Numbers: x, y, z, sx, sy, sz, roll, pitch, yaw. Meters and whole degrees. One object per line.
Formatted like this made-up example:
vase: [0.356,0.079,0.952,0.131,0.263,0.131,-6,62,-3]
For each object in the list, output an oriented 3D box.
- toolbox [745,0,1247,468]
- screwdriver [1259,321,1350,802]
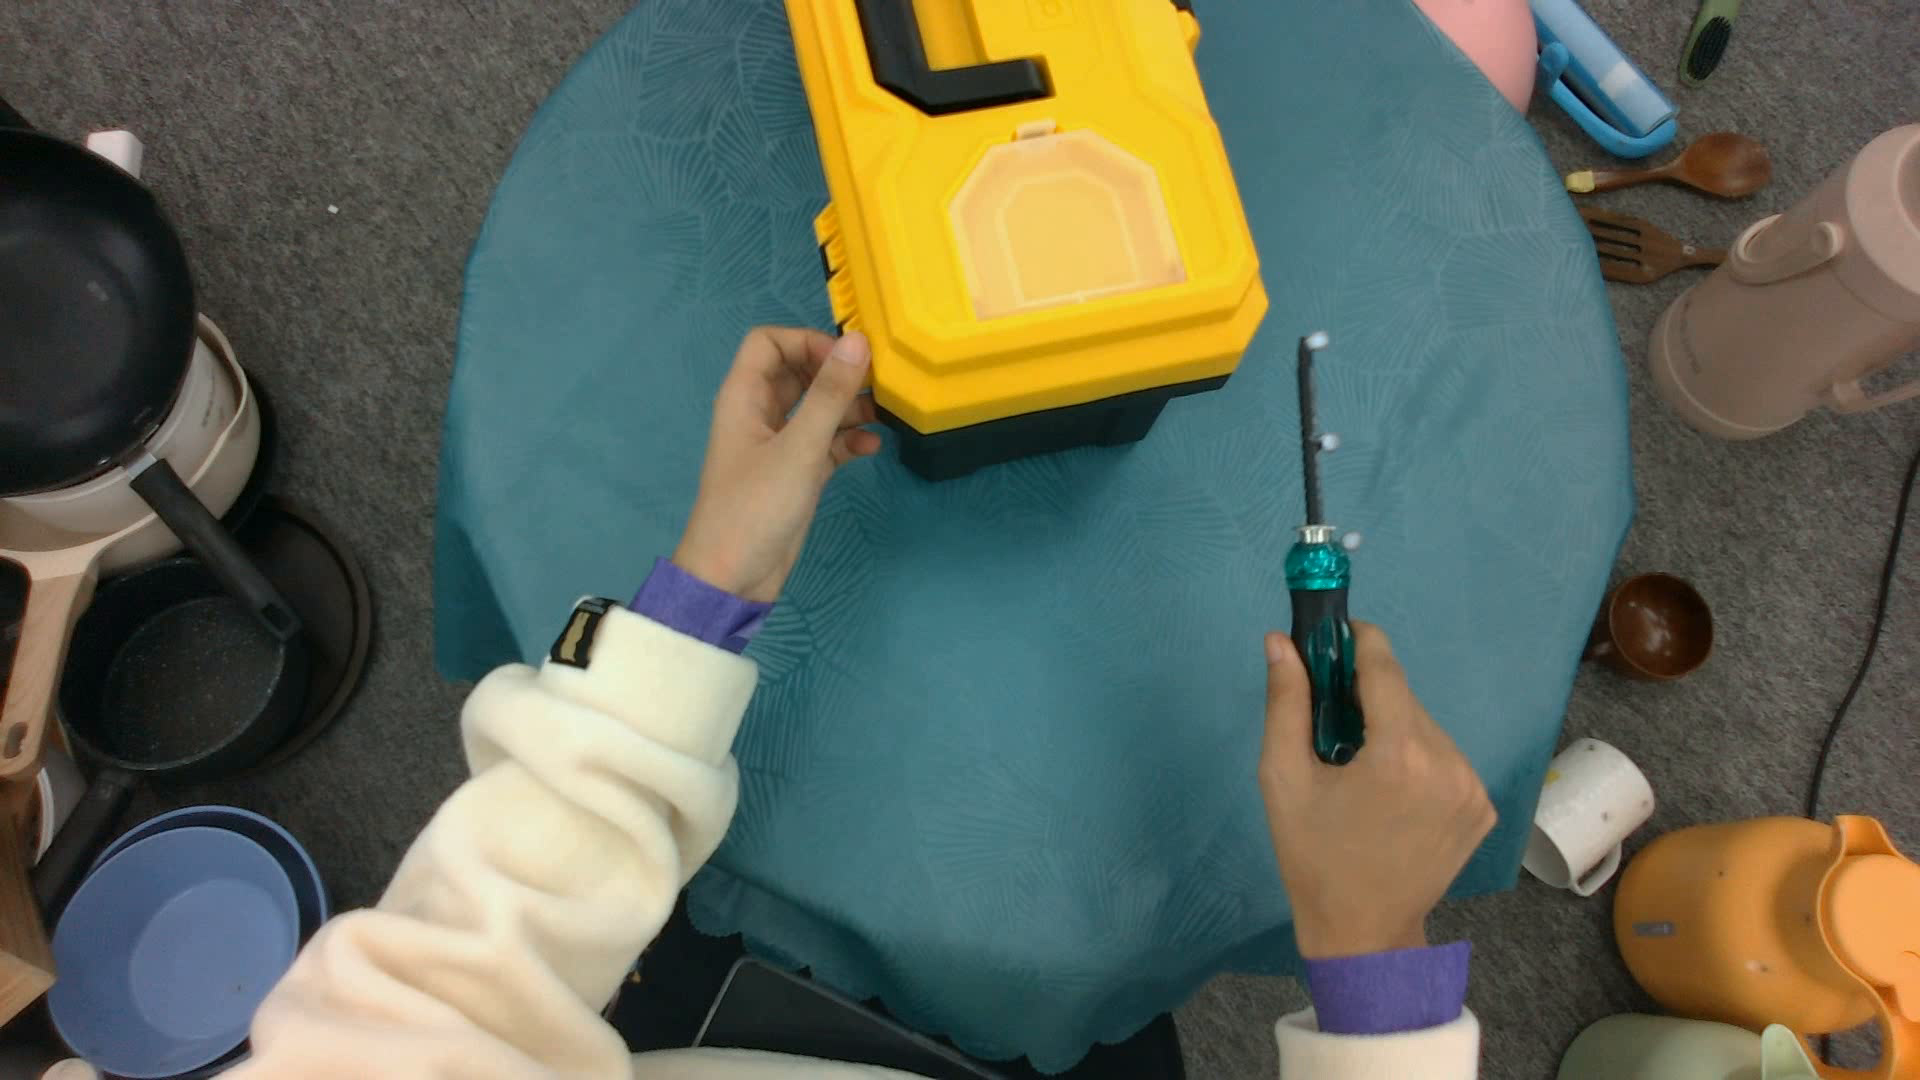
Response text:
toolbox: [-0.004,-0.217,0.645,0.181,0.172,0.352,-12,75,-8]
screwdriver: [0.133,0.008,0.547,0.034,0.033,0.190,-3,89,-6]
